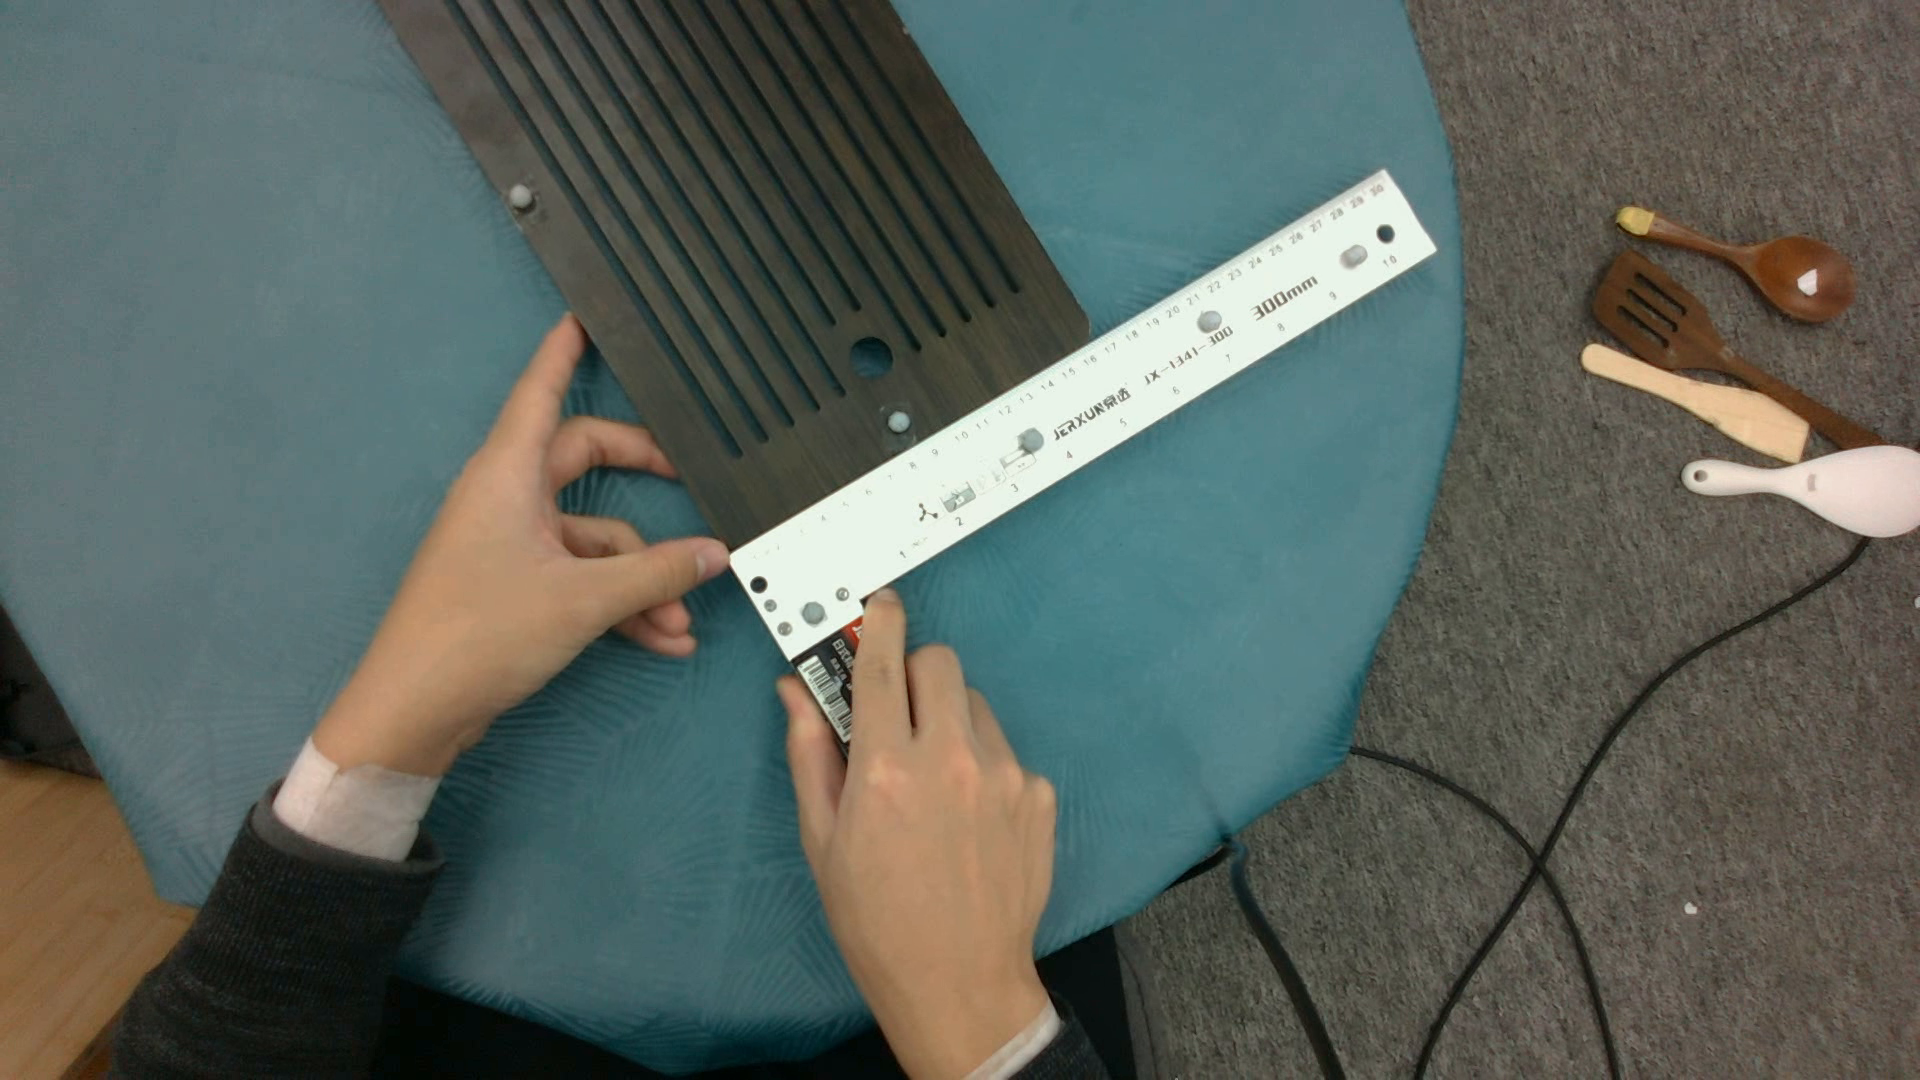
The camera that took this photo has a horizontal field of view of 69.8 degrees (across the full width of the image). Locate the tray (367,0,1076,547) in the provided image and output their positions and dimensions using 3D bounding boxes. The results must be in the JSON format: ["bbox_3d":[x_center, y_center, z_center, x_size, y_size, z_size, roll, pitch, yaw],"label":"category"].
[{"bbox_3d":[-0.101,-0.163,0.540,0.170,0.018,0.306,-32,89,-10],"label":"tray"}]

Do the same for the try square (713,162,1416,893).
[{"bbox_3d":[0.075,-0.012,0.540,0.313,0.016,0.152,-31,89,-10],"label":"try square"}]
